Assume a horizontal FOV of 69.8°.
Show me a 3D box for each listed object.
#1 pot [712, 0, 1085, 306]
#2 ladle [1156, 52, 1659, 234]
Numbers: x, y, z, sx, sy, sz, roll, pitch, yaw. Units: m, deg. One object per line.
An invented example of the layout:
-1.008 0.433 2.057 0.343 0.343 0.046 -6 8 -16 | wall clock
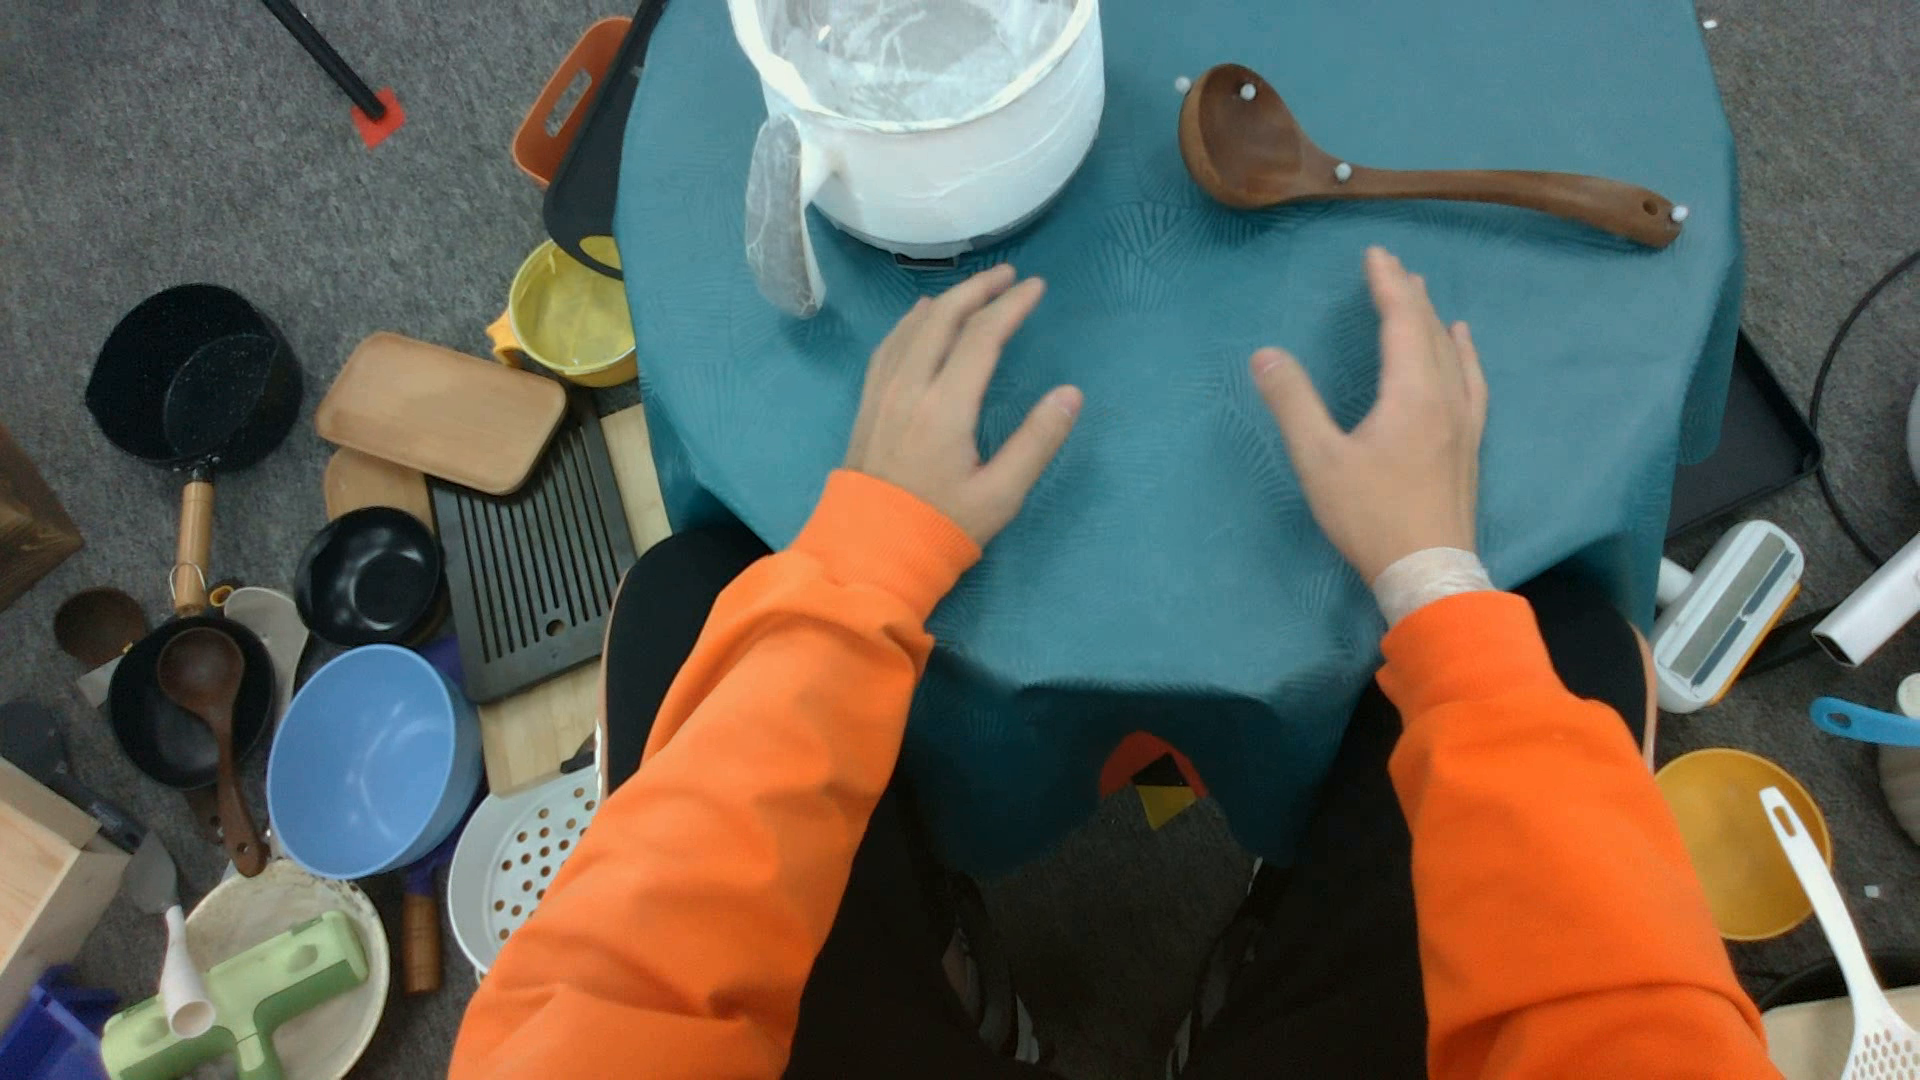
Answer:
-0.040 -0.231 0.698 0.179 0.136 0.234 31 77 14 | pot
0.229 -0.196 0.701 0.260 0.065 0.076 11 77 9 | ladle
